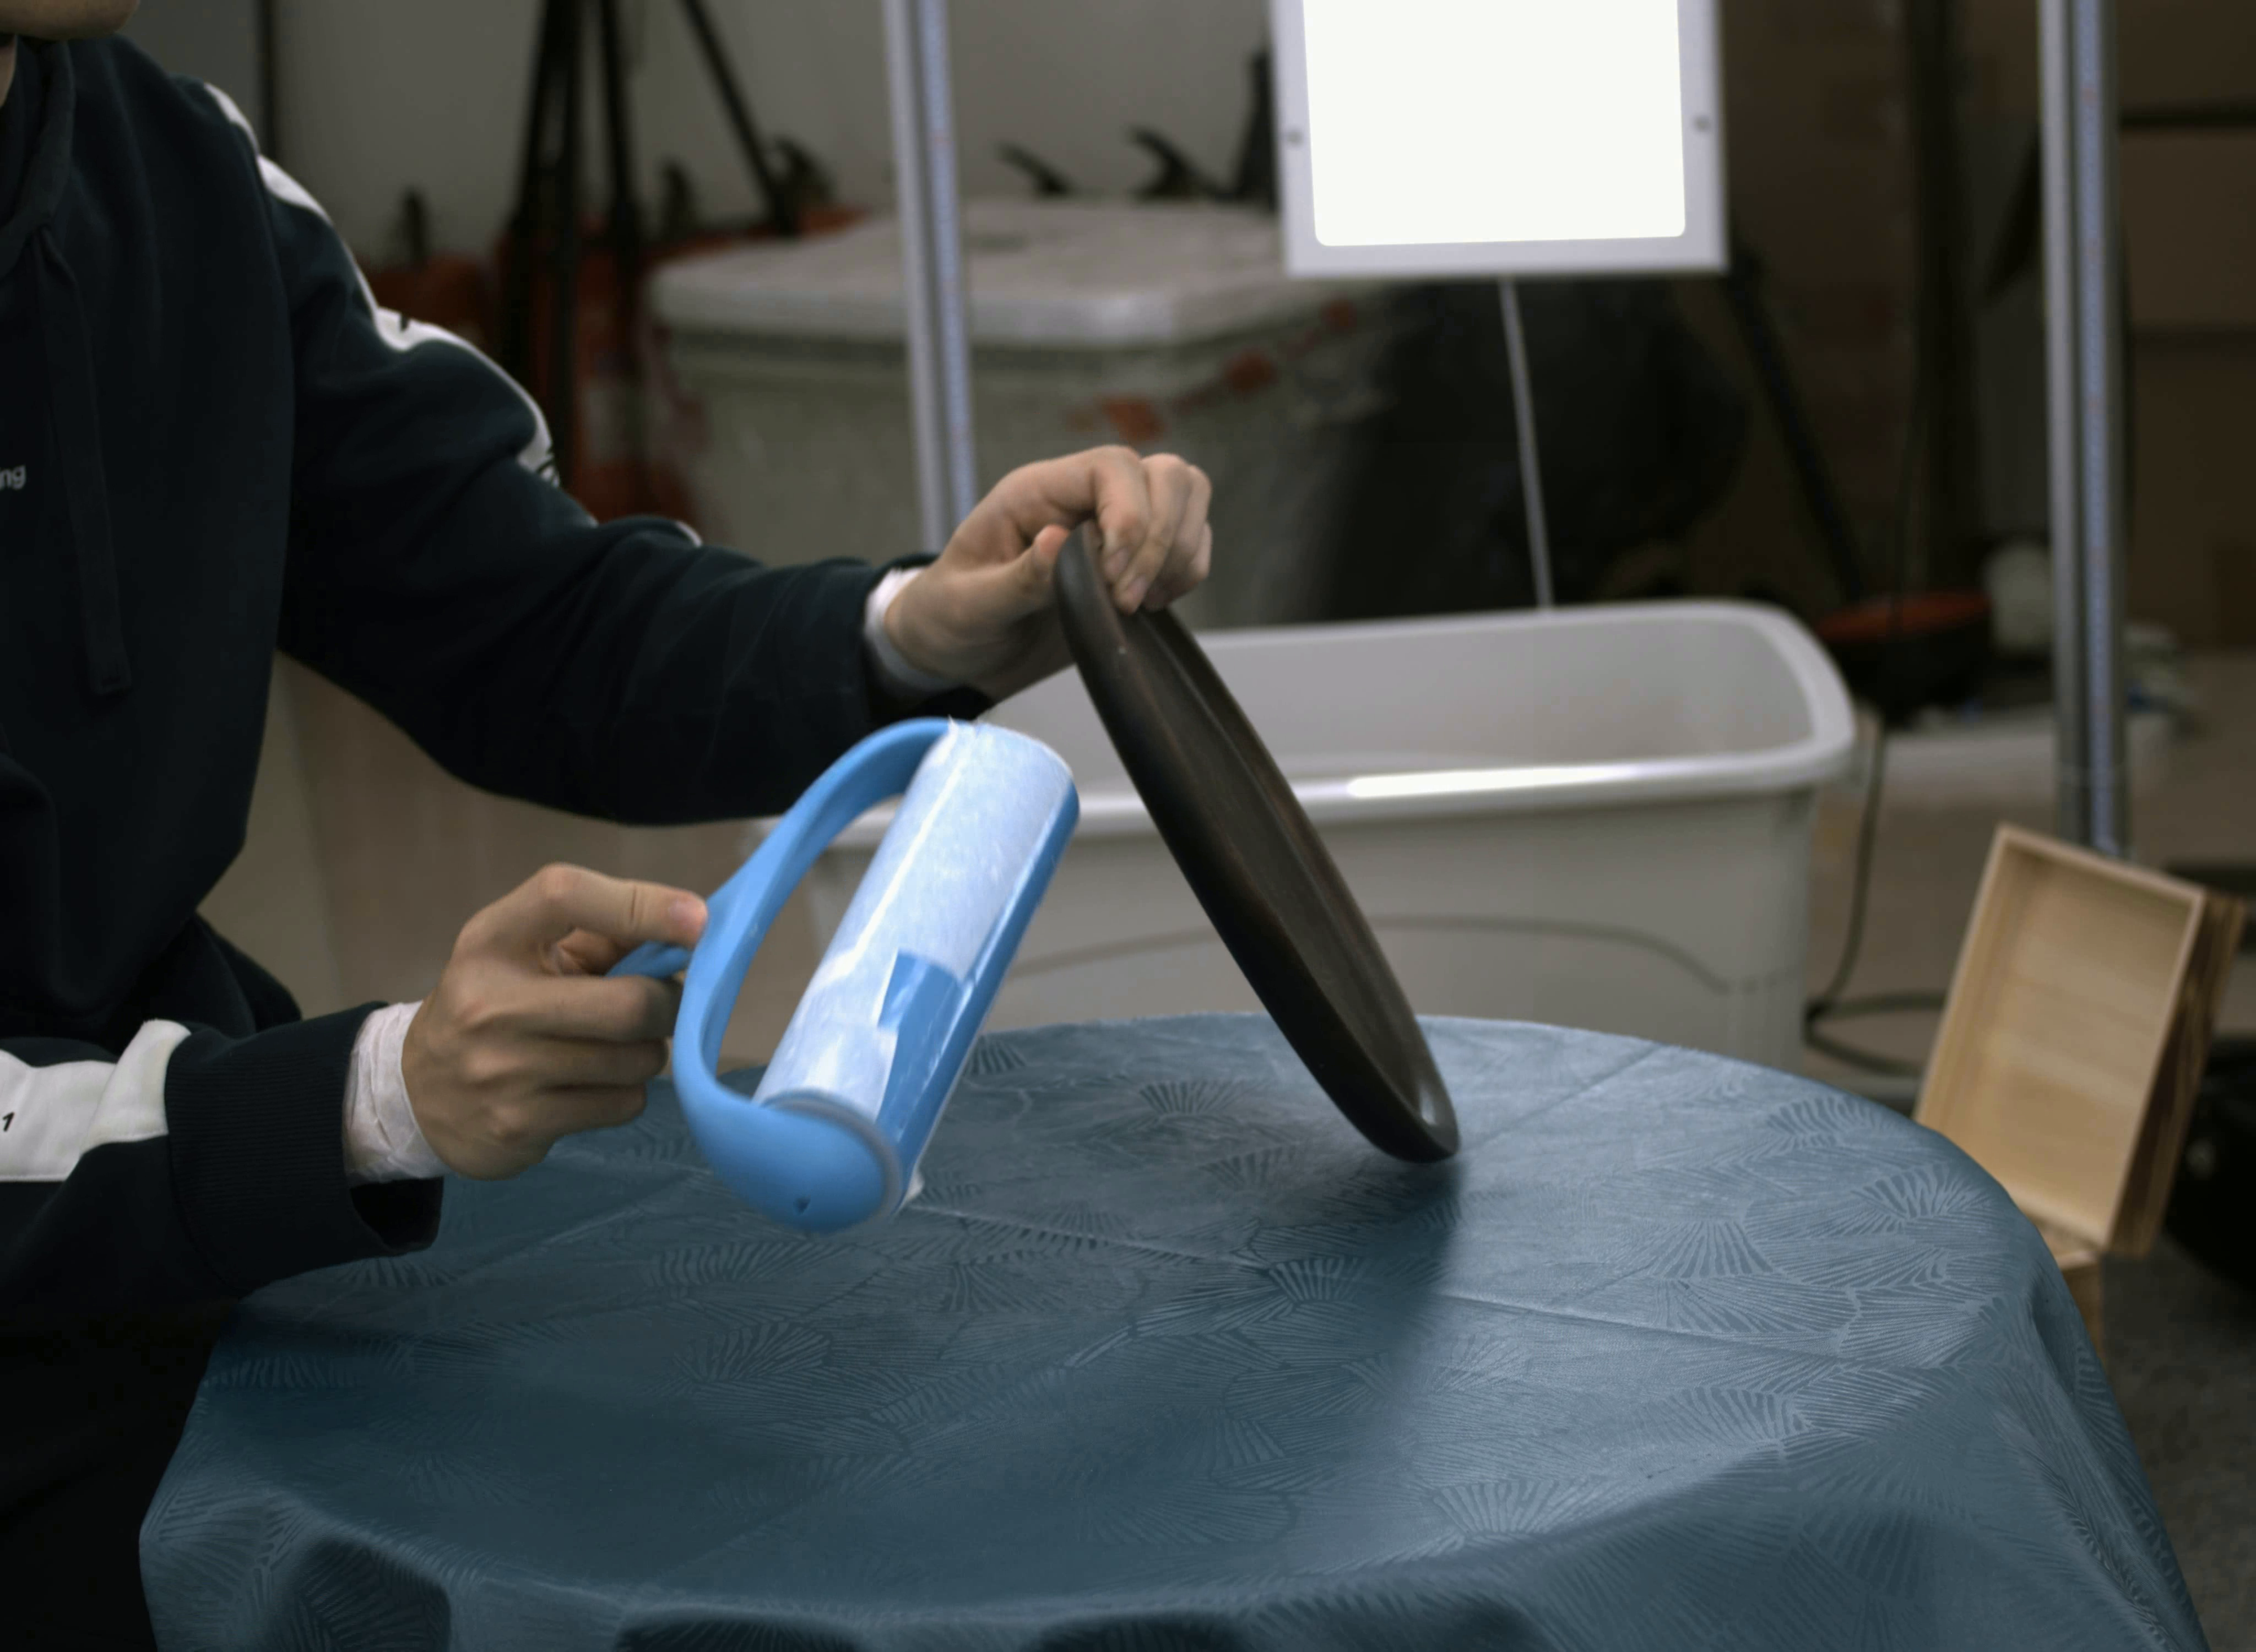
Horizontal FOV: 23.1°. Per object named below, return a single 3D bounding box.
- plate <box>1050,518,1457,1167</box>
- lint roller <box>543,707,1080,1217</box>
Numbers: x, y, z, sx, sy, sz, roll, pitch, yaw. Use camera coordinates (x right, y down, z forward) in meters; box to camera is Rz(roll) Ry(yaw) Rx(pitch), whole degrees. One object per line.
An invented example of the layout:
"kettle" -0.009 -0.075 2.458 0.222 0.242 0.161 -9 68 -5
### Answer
"plate" 0.042 0.007 1.882 0.029 0.254 0.254 -29 11 6
"lint roller" -0.117 0.053 1.705 0.183 0.067 0.226 -16 31 24
